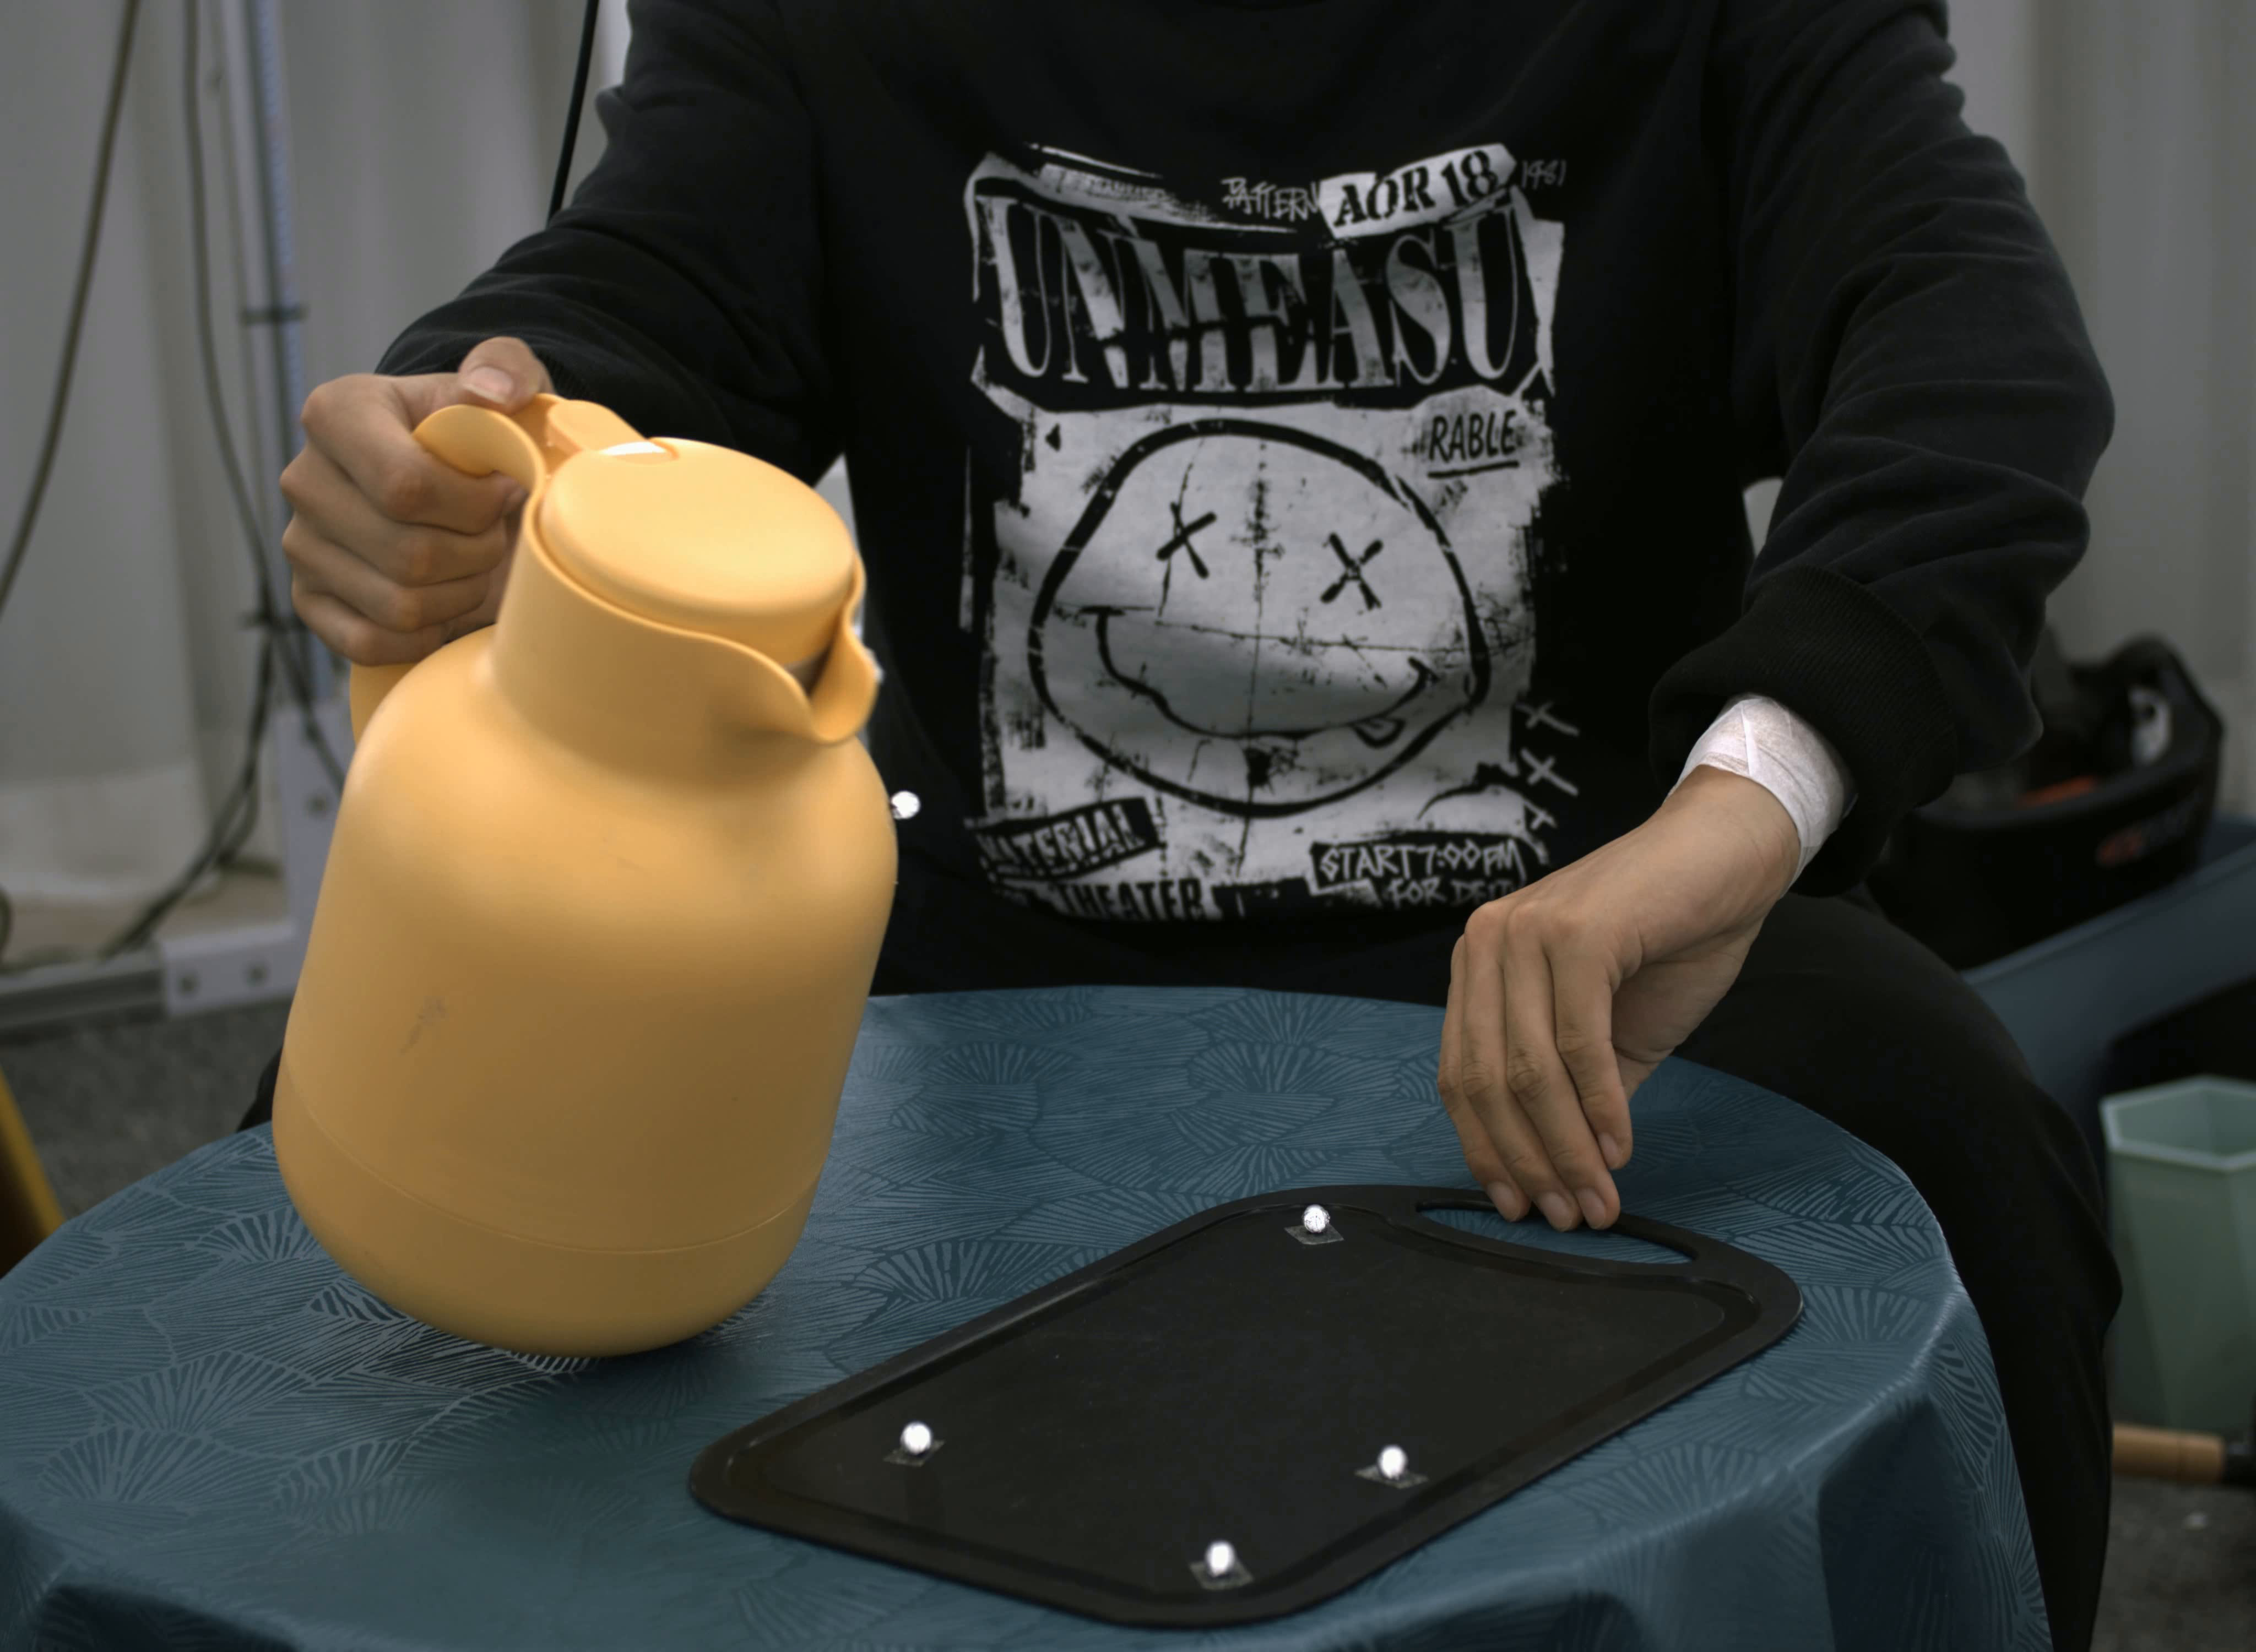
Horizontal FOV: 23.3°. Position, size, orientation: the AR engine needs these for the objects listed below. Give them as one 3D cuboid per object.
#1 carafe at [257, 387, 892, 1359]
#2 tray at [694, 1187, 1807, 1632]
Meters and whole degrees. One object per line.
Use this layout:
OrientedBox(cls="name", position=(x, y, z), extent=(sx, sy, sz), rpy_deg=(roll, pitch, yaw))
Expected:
OrientedBox(cls="carafe", position=(-0.161, 0.004, 1.583), extent=(0.163, 0.258, 0.205), rpy_deg=(-8, 38, -40))
OrientedBox(cls="tray", position=(0.043, 0.155, 1.543), extent=(0.212, 0.010, 0.325), rpy_deg=(9, 19, 38))
